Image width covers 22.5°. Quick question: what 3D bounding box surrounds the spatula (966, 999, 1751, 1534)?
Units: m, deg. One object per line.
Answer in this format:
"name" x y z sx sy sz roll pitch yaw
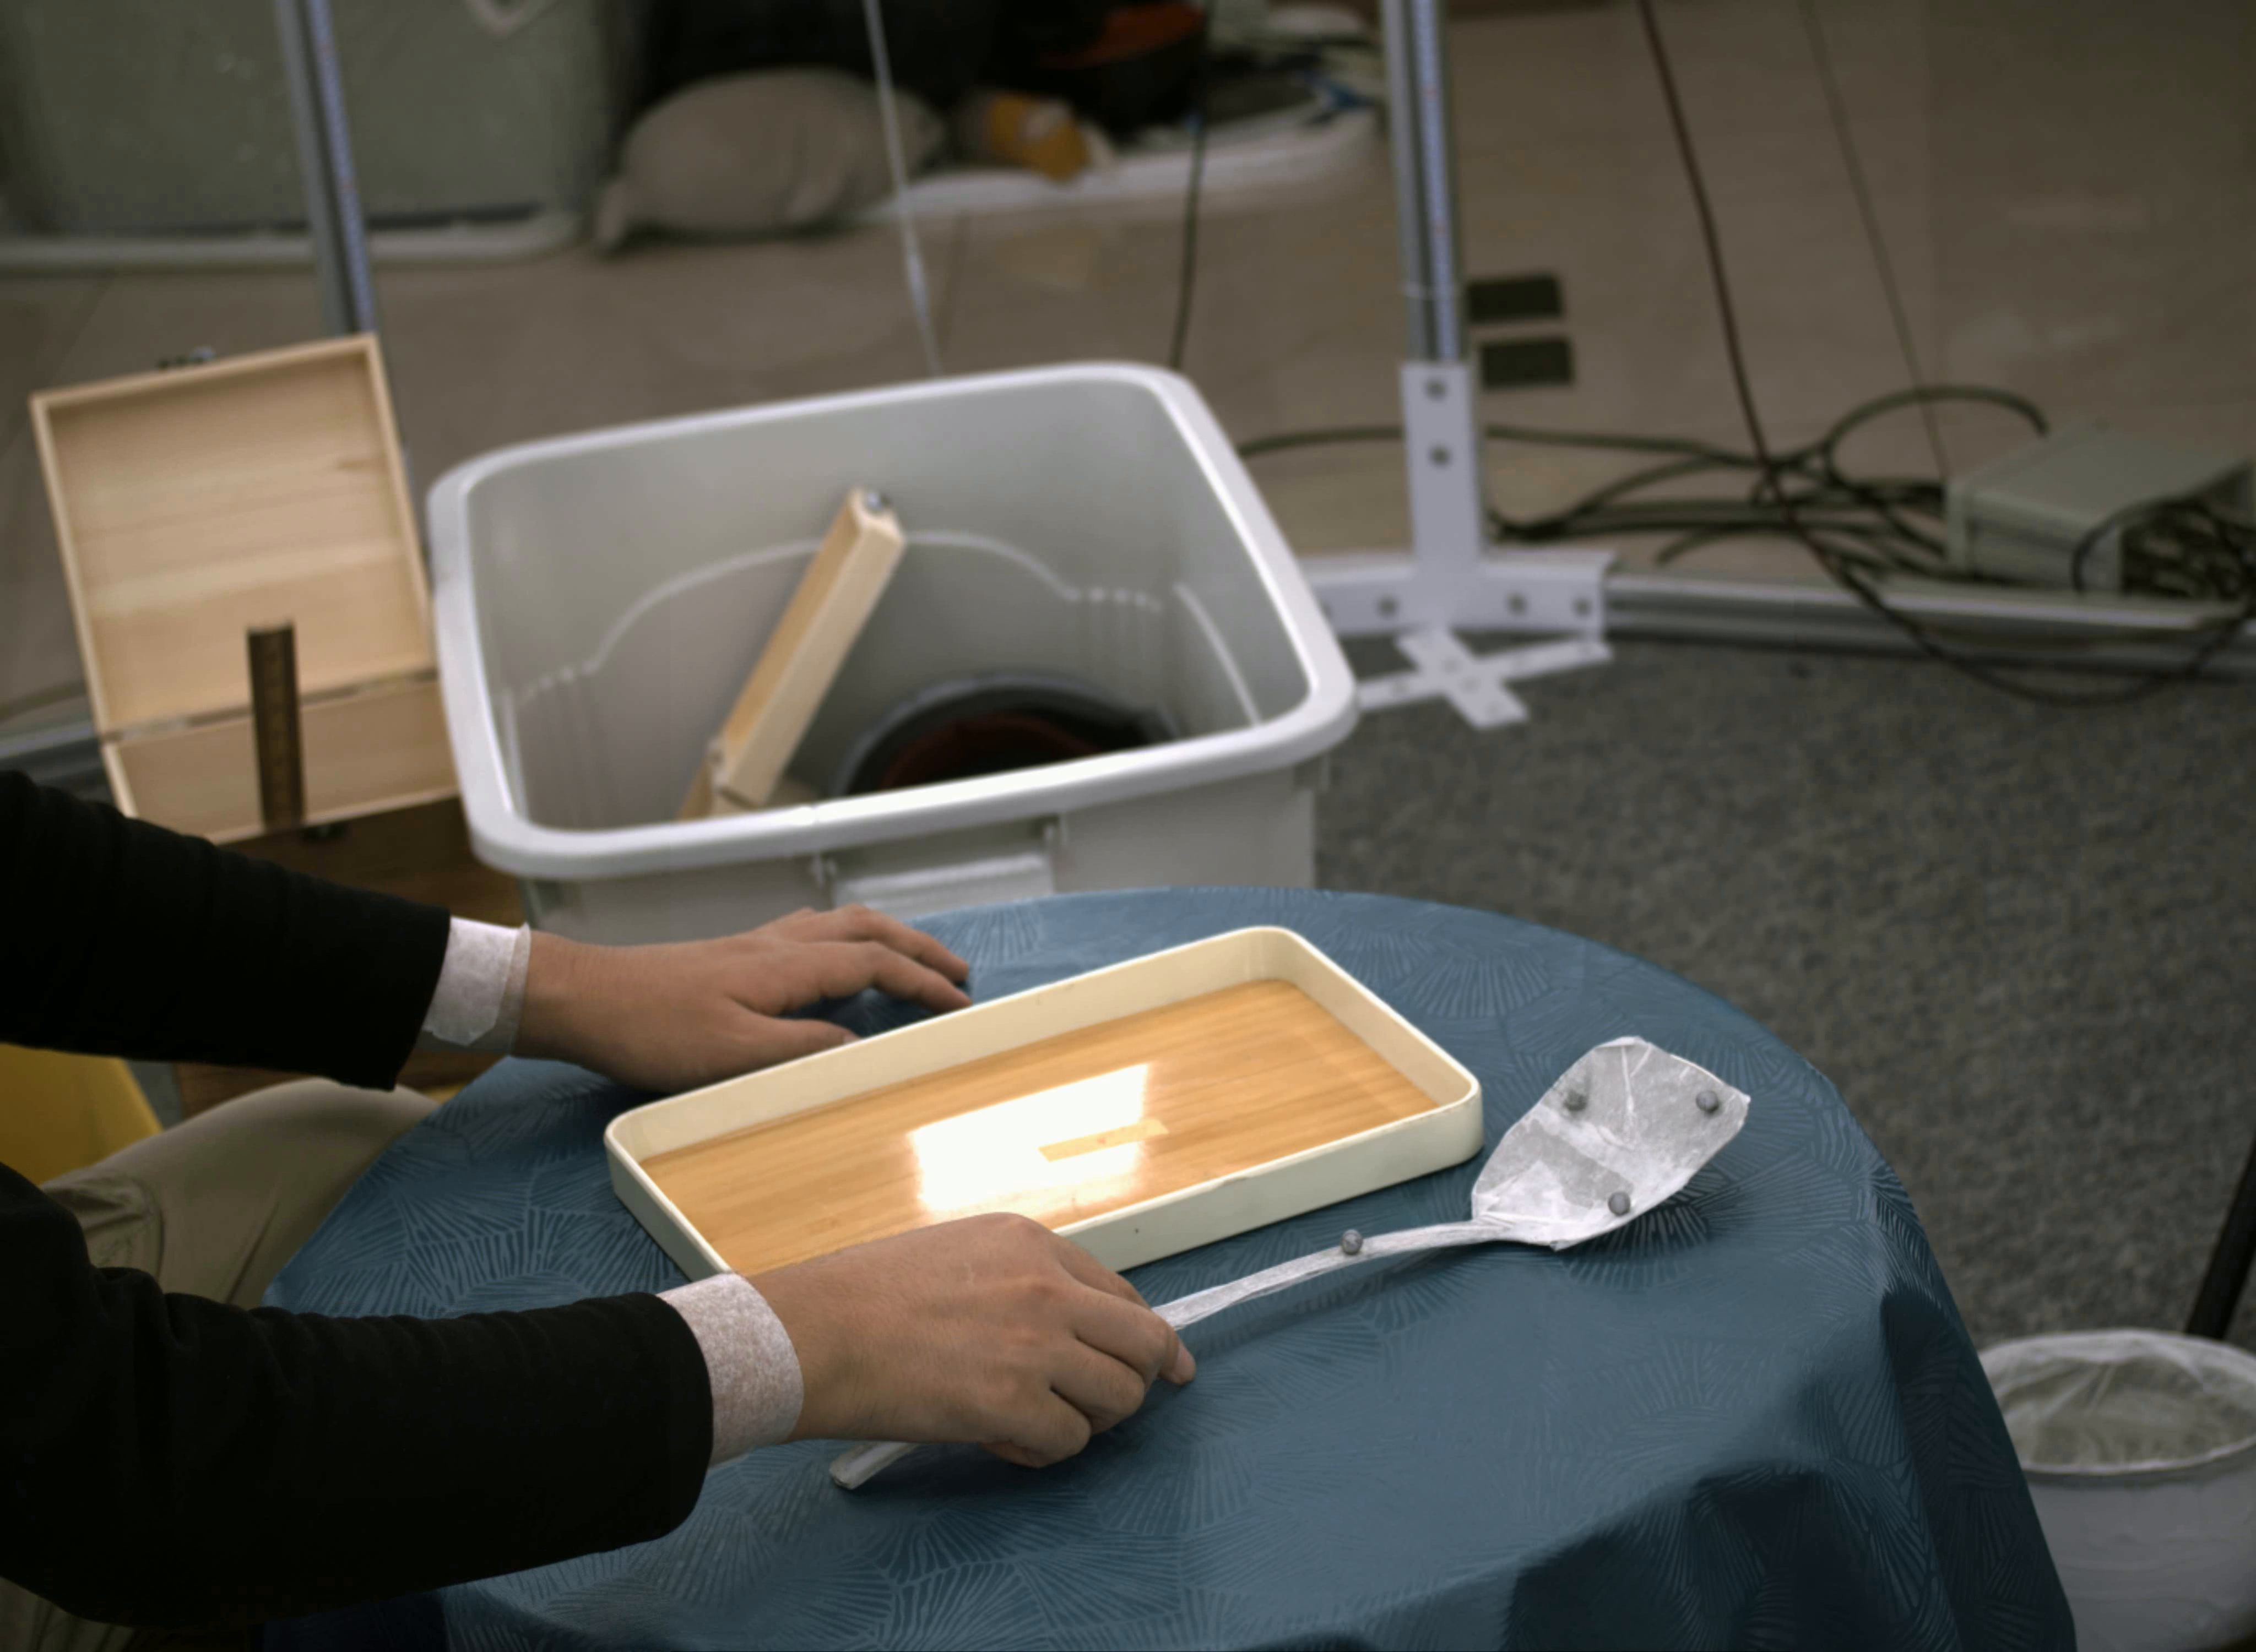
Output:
"spatula" 0.081 0.155 2.045 0.362 0.045 0.098 -27 13 -31

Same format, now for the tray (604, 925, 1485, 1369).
"tray" -0.033 0.119 2.167 0.299 0.028 0.189 -16 26 -19
